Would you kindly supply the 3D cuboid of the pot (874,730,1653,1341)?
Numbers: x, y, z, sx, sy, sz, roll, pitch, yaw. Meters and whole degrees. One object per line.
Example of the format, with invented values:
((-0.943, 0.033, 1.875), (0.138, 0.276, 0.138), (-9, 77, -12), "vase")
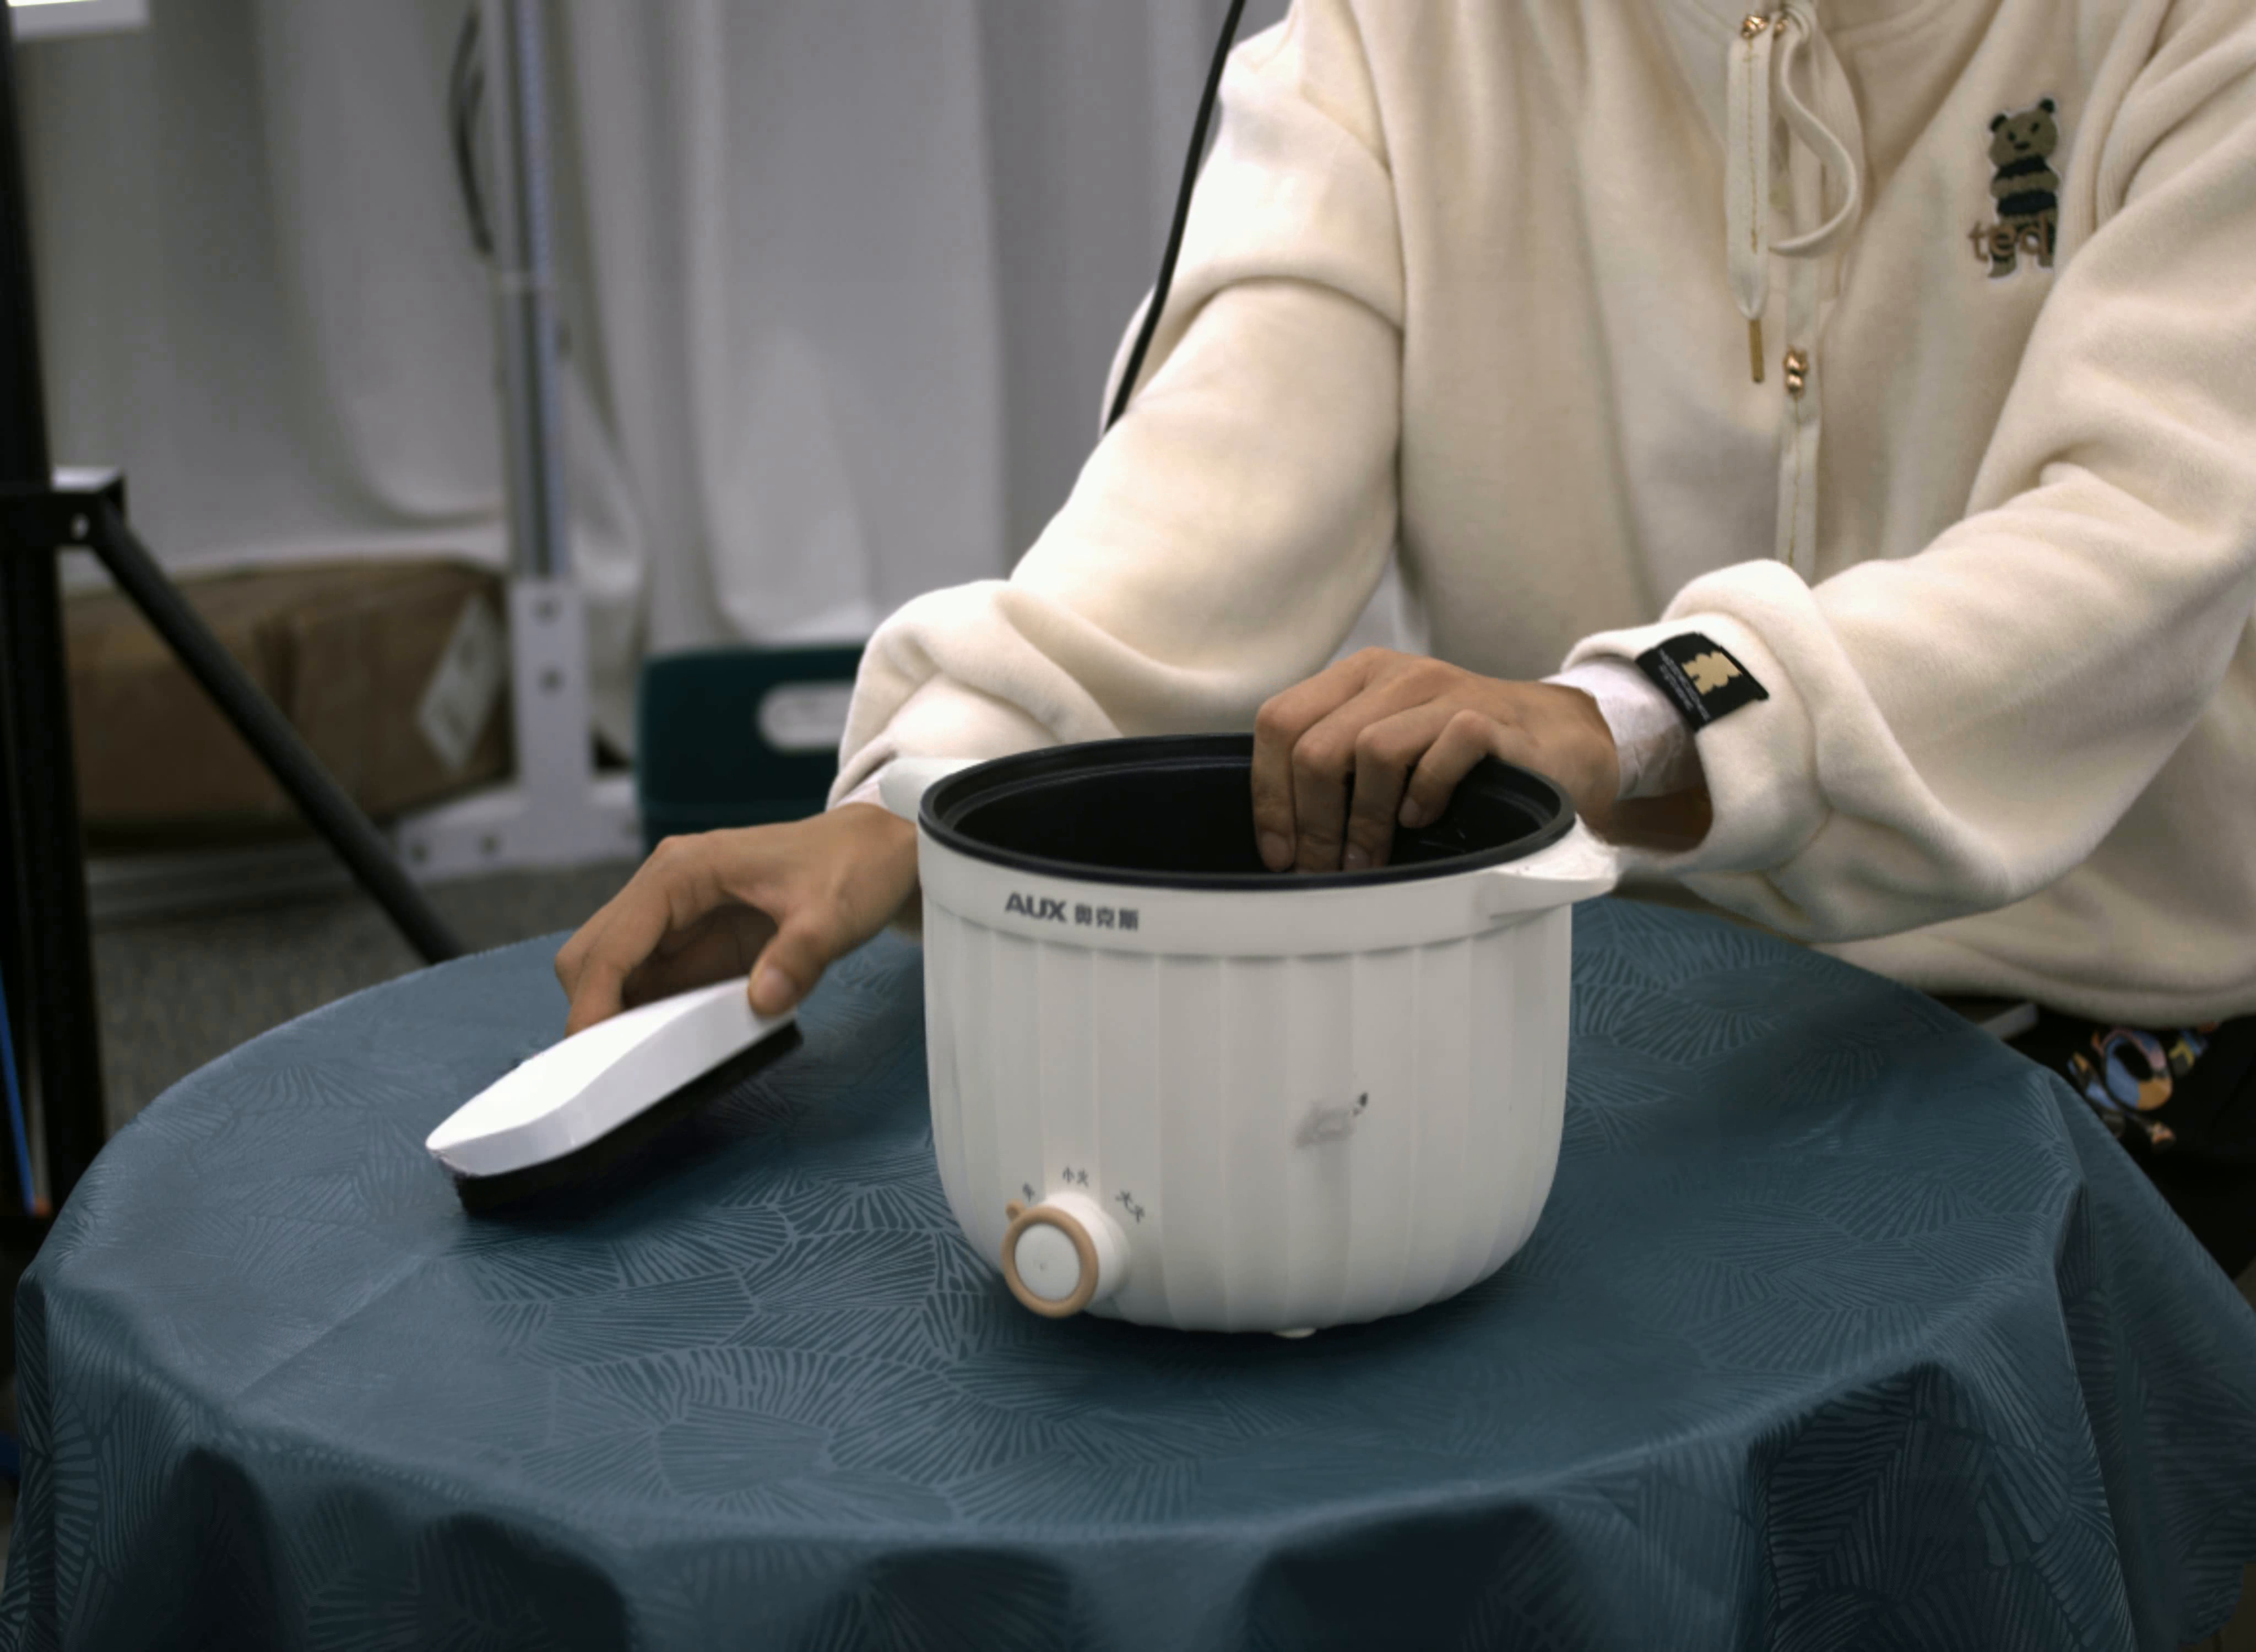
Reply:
((0.031, 0.059, 1.462), (0.245, 0.143, 0.186), (7, 12, 33), "pot")

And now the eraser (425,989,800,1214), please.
((-0.151, 0.079, 1.597), (0.064, 0.034, 0.129), (-11, 11, 35), "eraser")
